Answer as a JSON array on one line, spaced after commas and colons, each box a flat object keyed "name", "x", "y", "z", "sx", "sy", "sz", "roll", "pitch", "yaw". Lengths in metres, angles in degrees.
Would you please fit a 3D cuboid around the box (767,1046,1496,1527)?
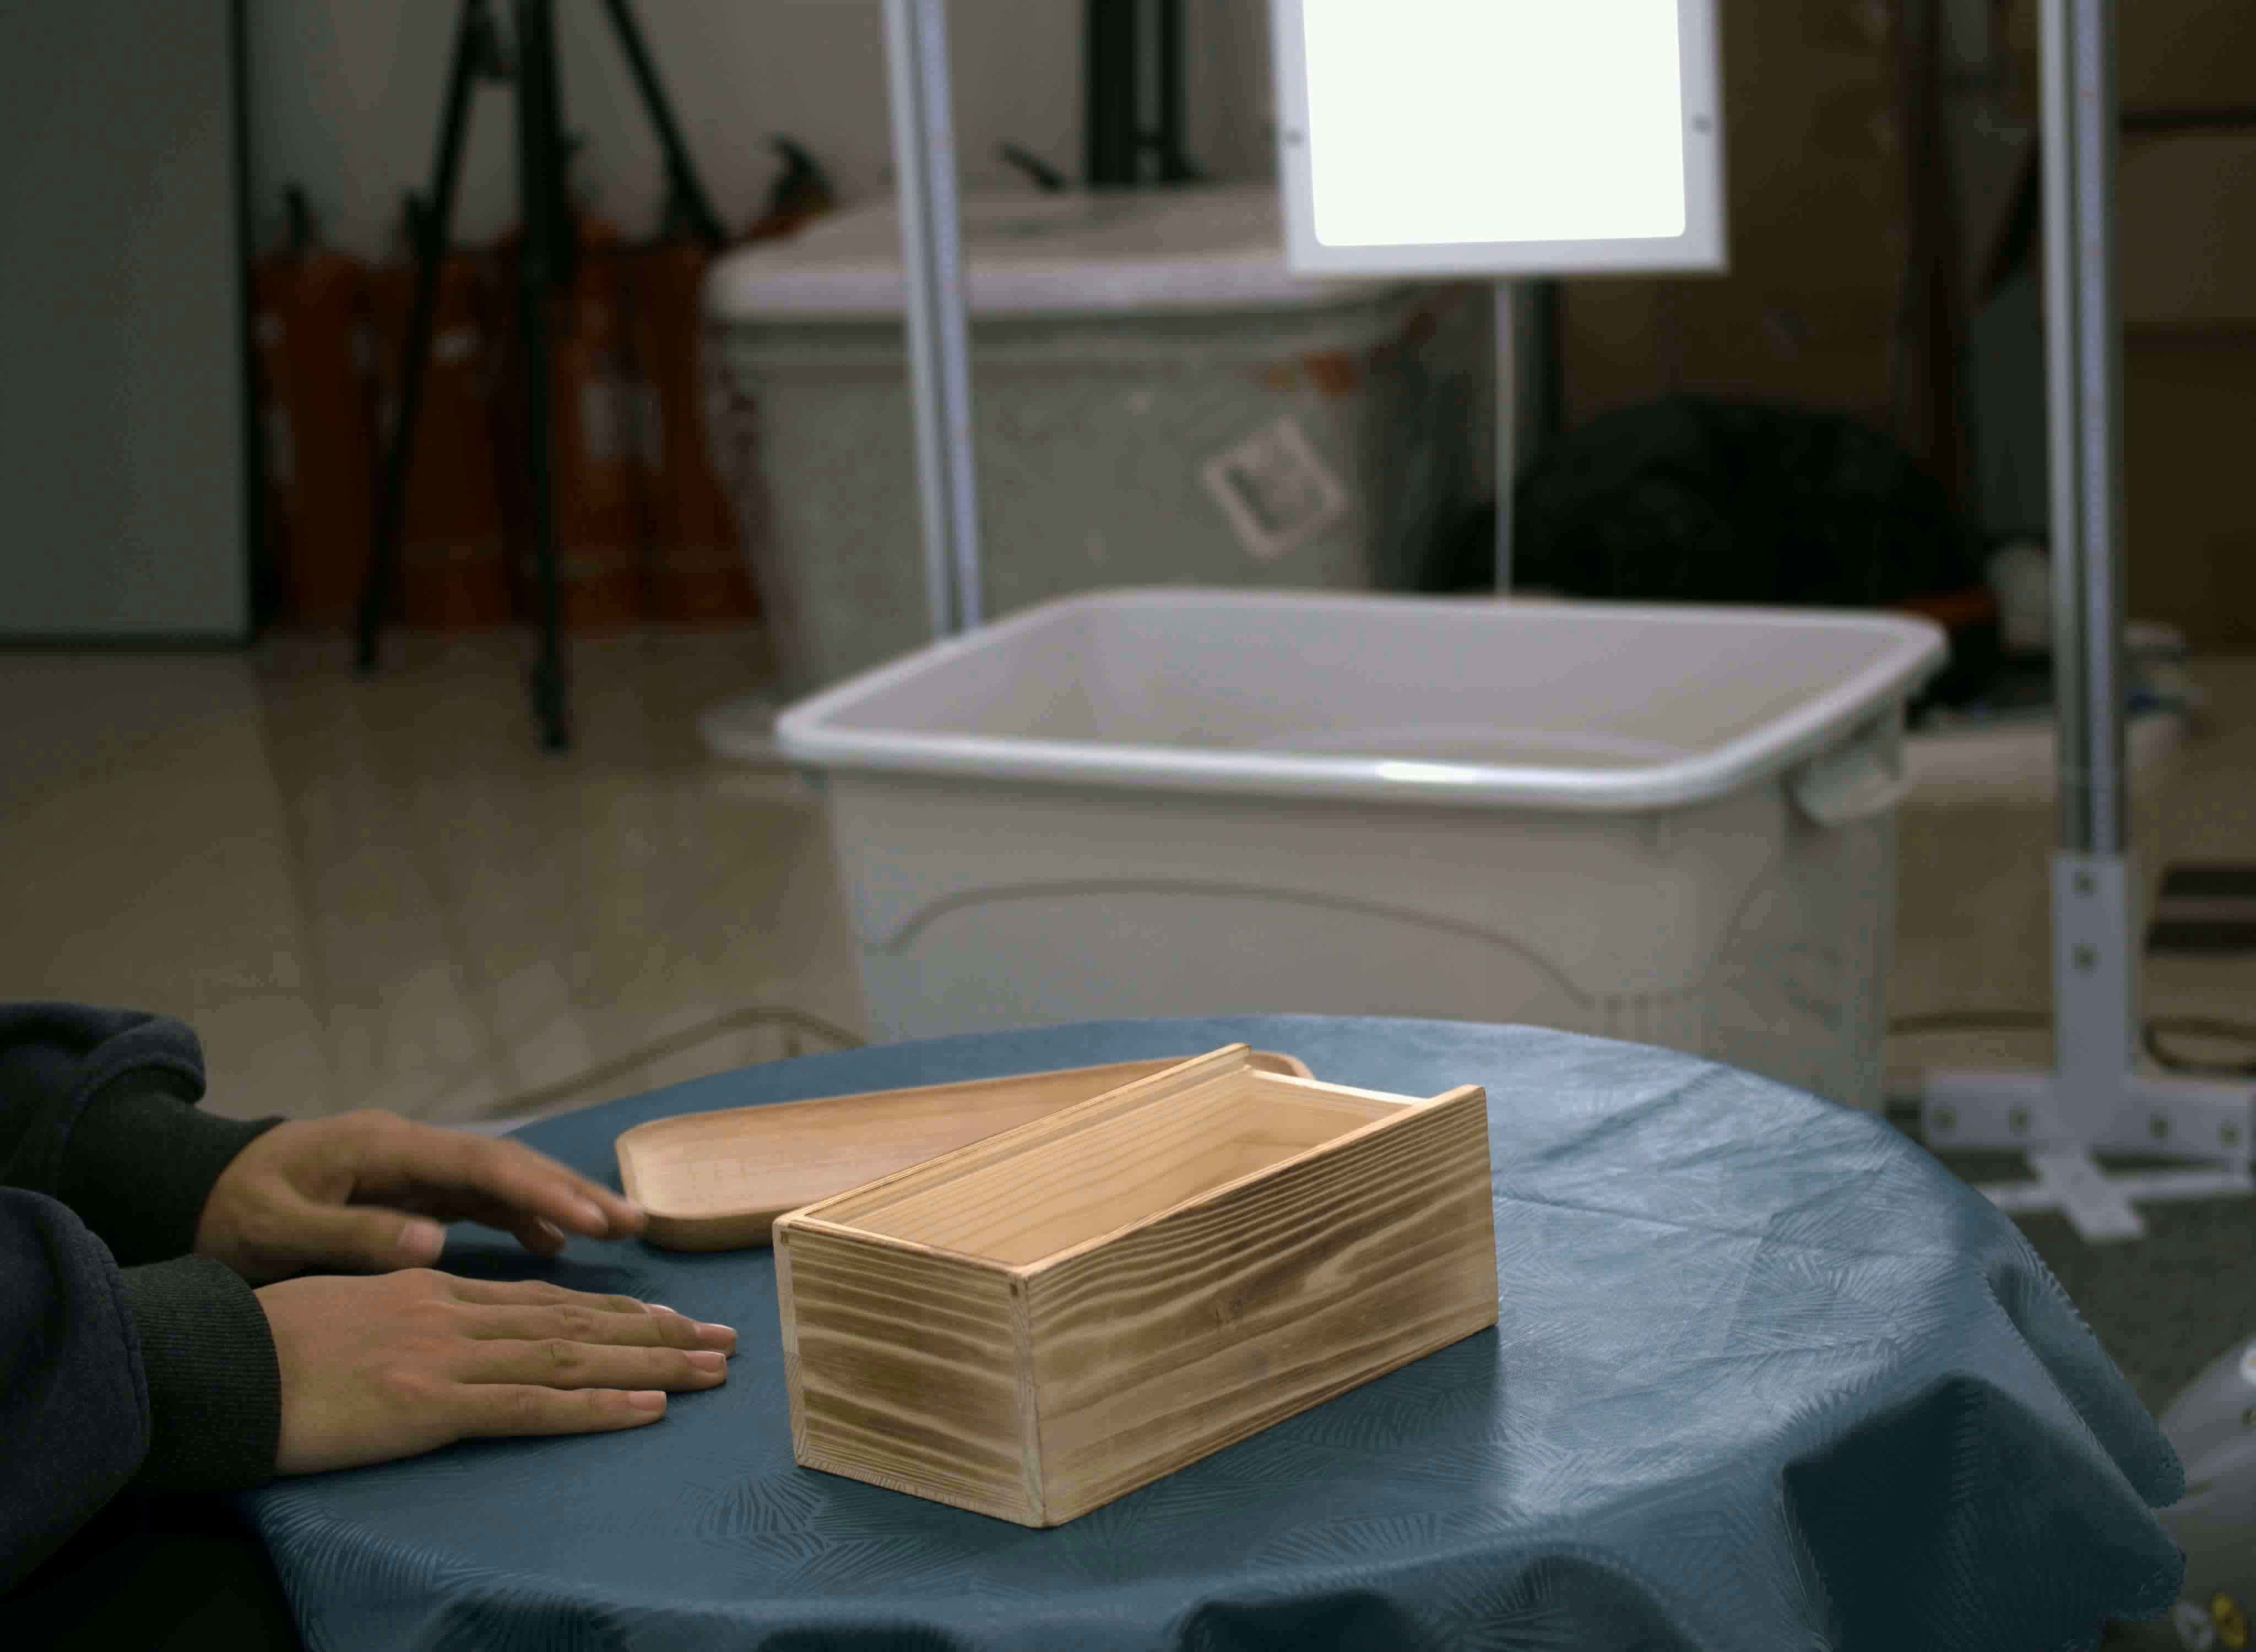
[{"name": "box", "x": 0.004, "y": 0.137, "z": 1.686, "sx": 0.110, "sy": 0.080, "sz": 0.206, "roll": 8, "pitch": 19, "yaw": 43}]

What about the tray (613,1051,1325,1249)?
[{"name": "tray", "x": -0.054, "y": 0.113, "z": 1.934, "sx": 0.249, "sy": 0.023, "sz": 0.131, "roll": -7, "pitch": 11, "yaw": -5}]
